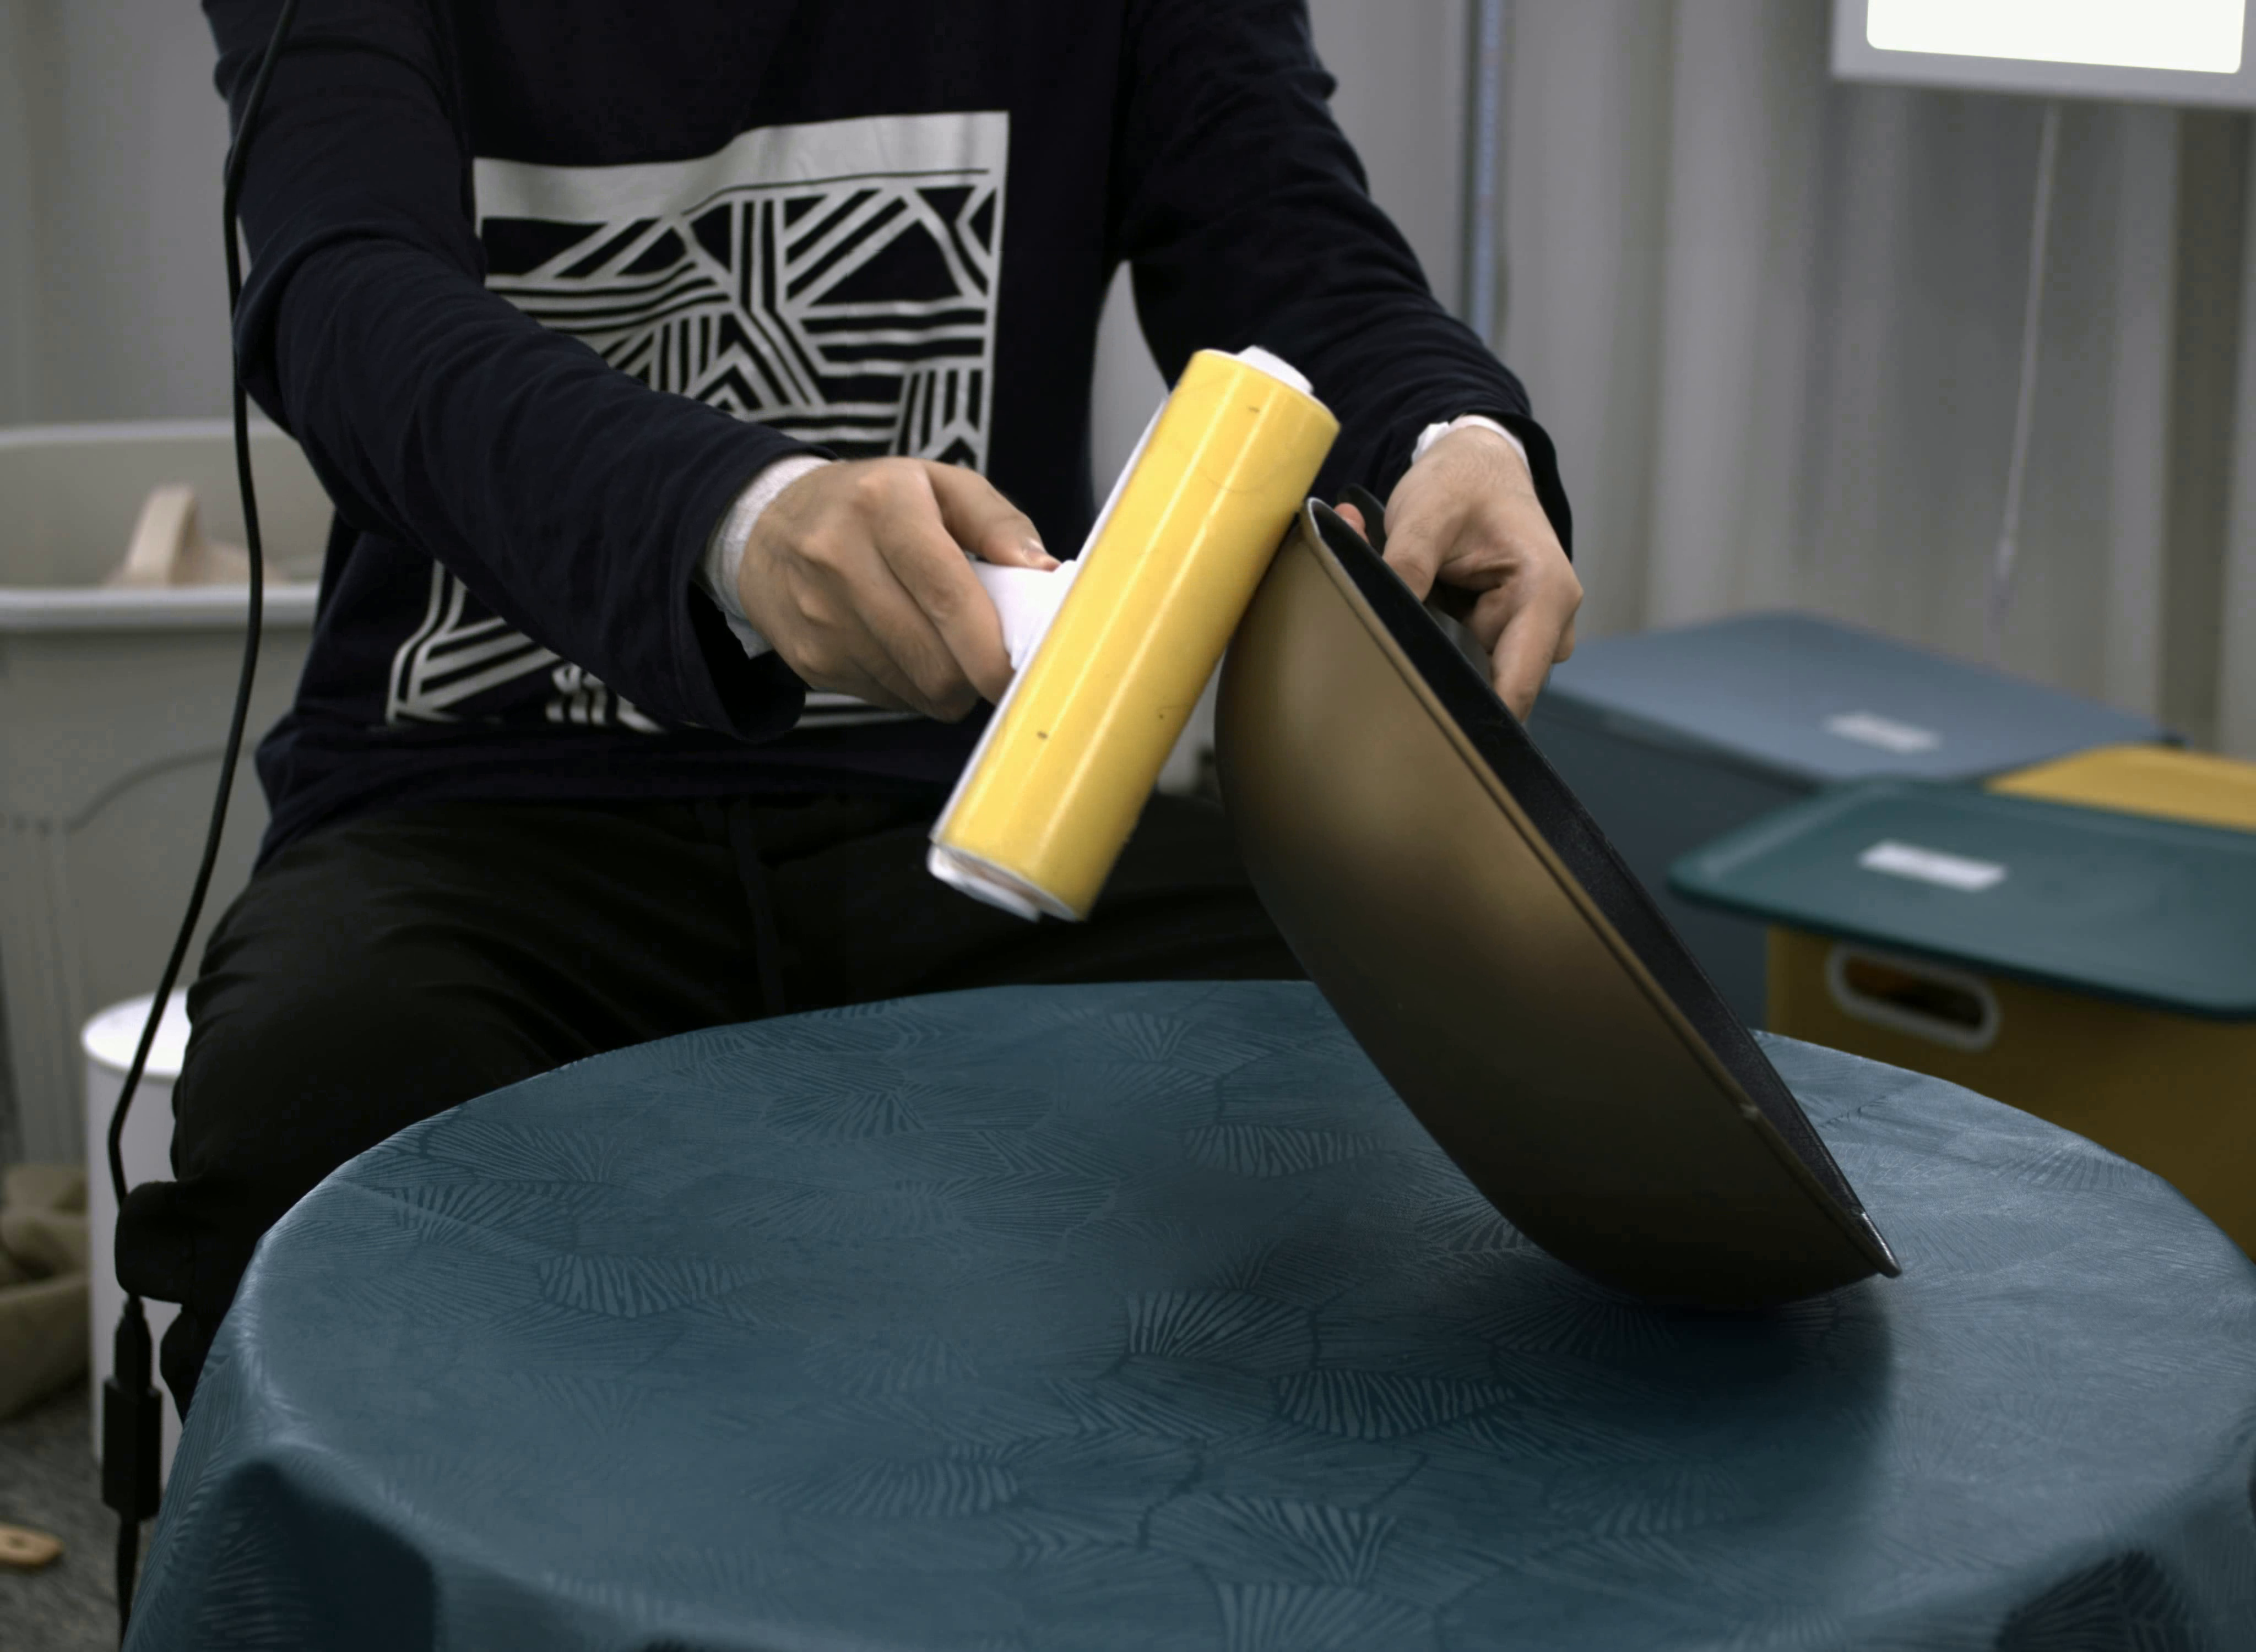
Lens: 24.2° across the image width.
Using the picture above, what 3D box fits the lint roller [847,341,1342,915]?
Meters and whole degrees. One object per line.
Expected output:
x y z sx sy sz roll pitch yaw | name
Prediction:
-0.038 -0.066 1.538 0.052 0.174 0.189 35 -12 -37 | lint roller

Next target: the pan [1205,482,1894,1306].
0.091 0.001 1.601 0.087 0.291 0.458 -37 25 6 | pan
